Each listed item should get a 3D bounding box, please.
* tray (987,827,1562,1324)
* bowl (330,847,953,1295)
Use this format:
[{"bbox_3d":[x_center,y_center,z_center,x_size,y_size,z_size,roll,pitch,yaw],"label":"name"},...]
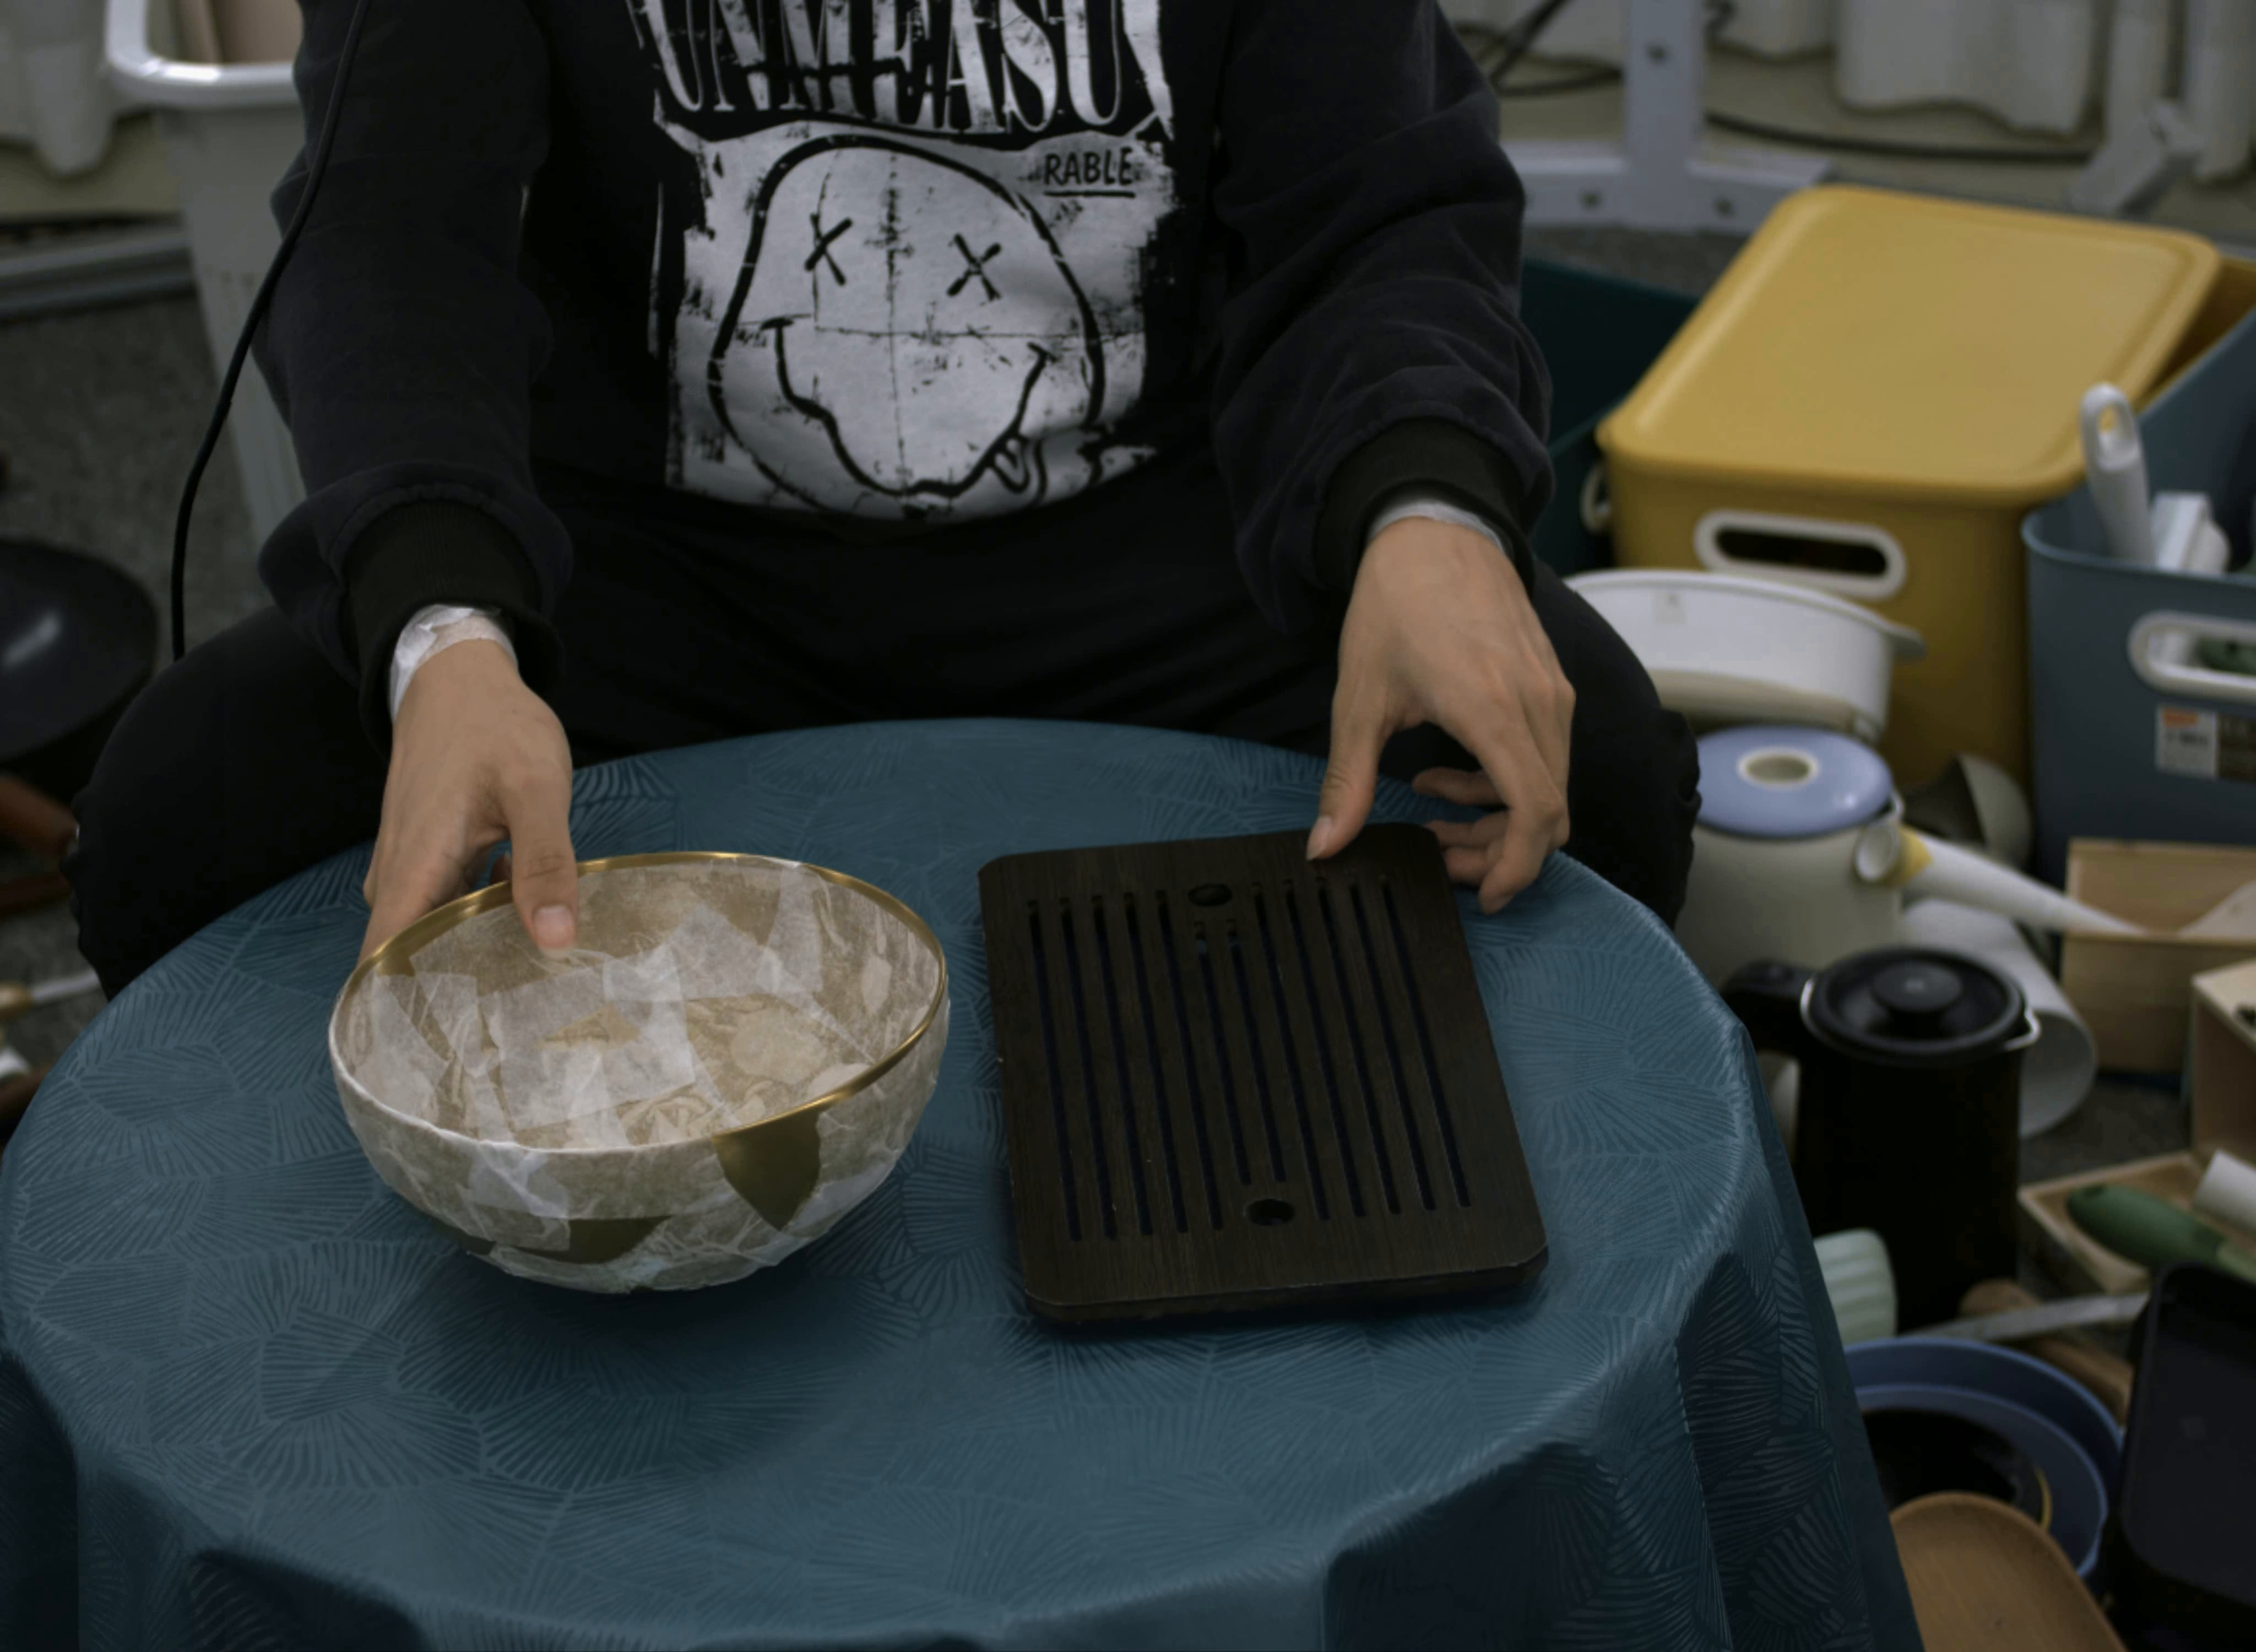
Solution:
[{"bbox_3d":[0.044,0.083,1.913,0.169,0.018,0.310,-4,27,-3],"label":"tray"},{"bbox_3d":[-0.151,0.091,1.834,0.213,0.093,0.218,-4,26,2],"label":"bowl"}]
